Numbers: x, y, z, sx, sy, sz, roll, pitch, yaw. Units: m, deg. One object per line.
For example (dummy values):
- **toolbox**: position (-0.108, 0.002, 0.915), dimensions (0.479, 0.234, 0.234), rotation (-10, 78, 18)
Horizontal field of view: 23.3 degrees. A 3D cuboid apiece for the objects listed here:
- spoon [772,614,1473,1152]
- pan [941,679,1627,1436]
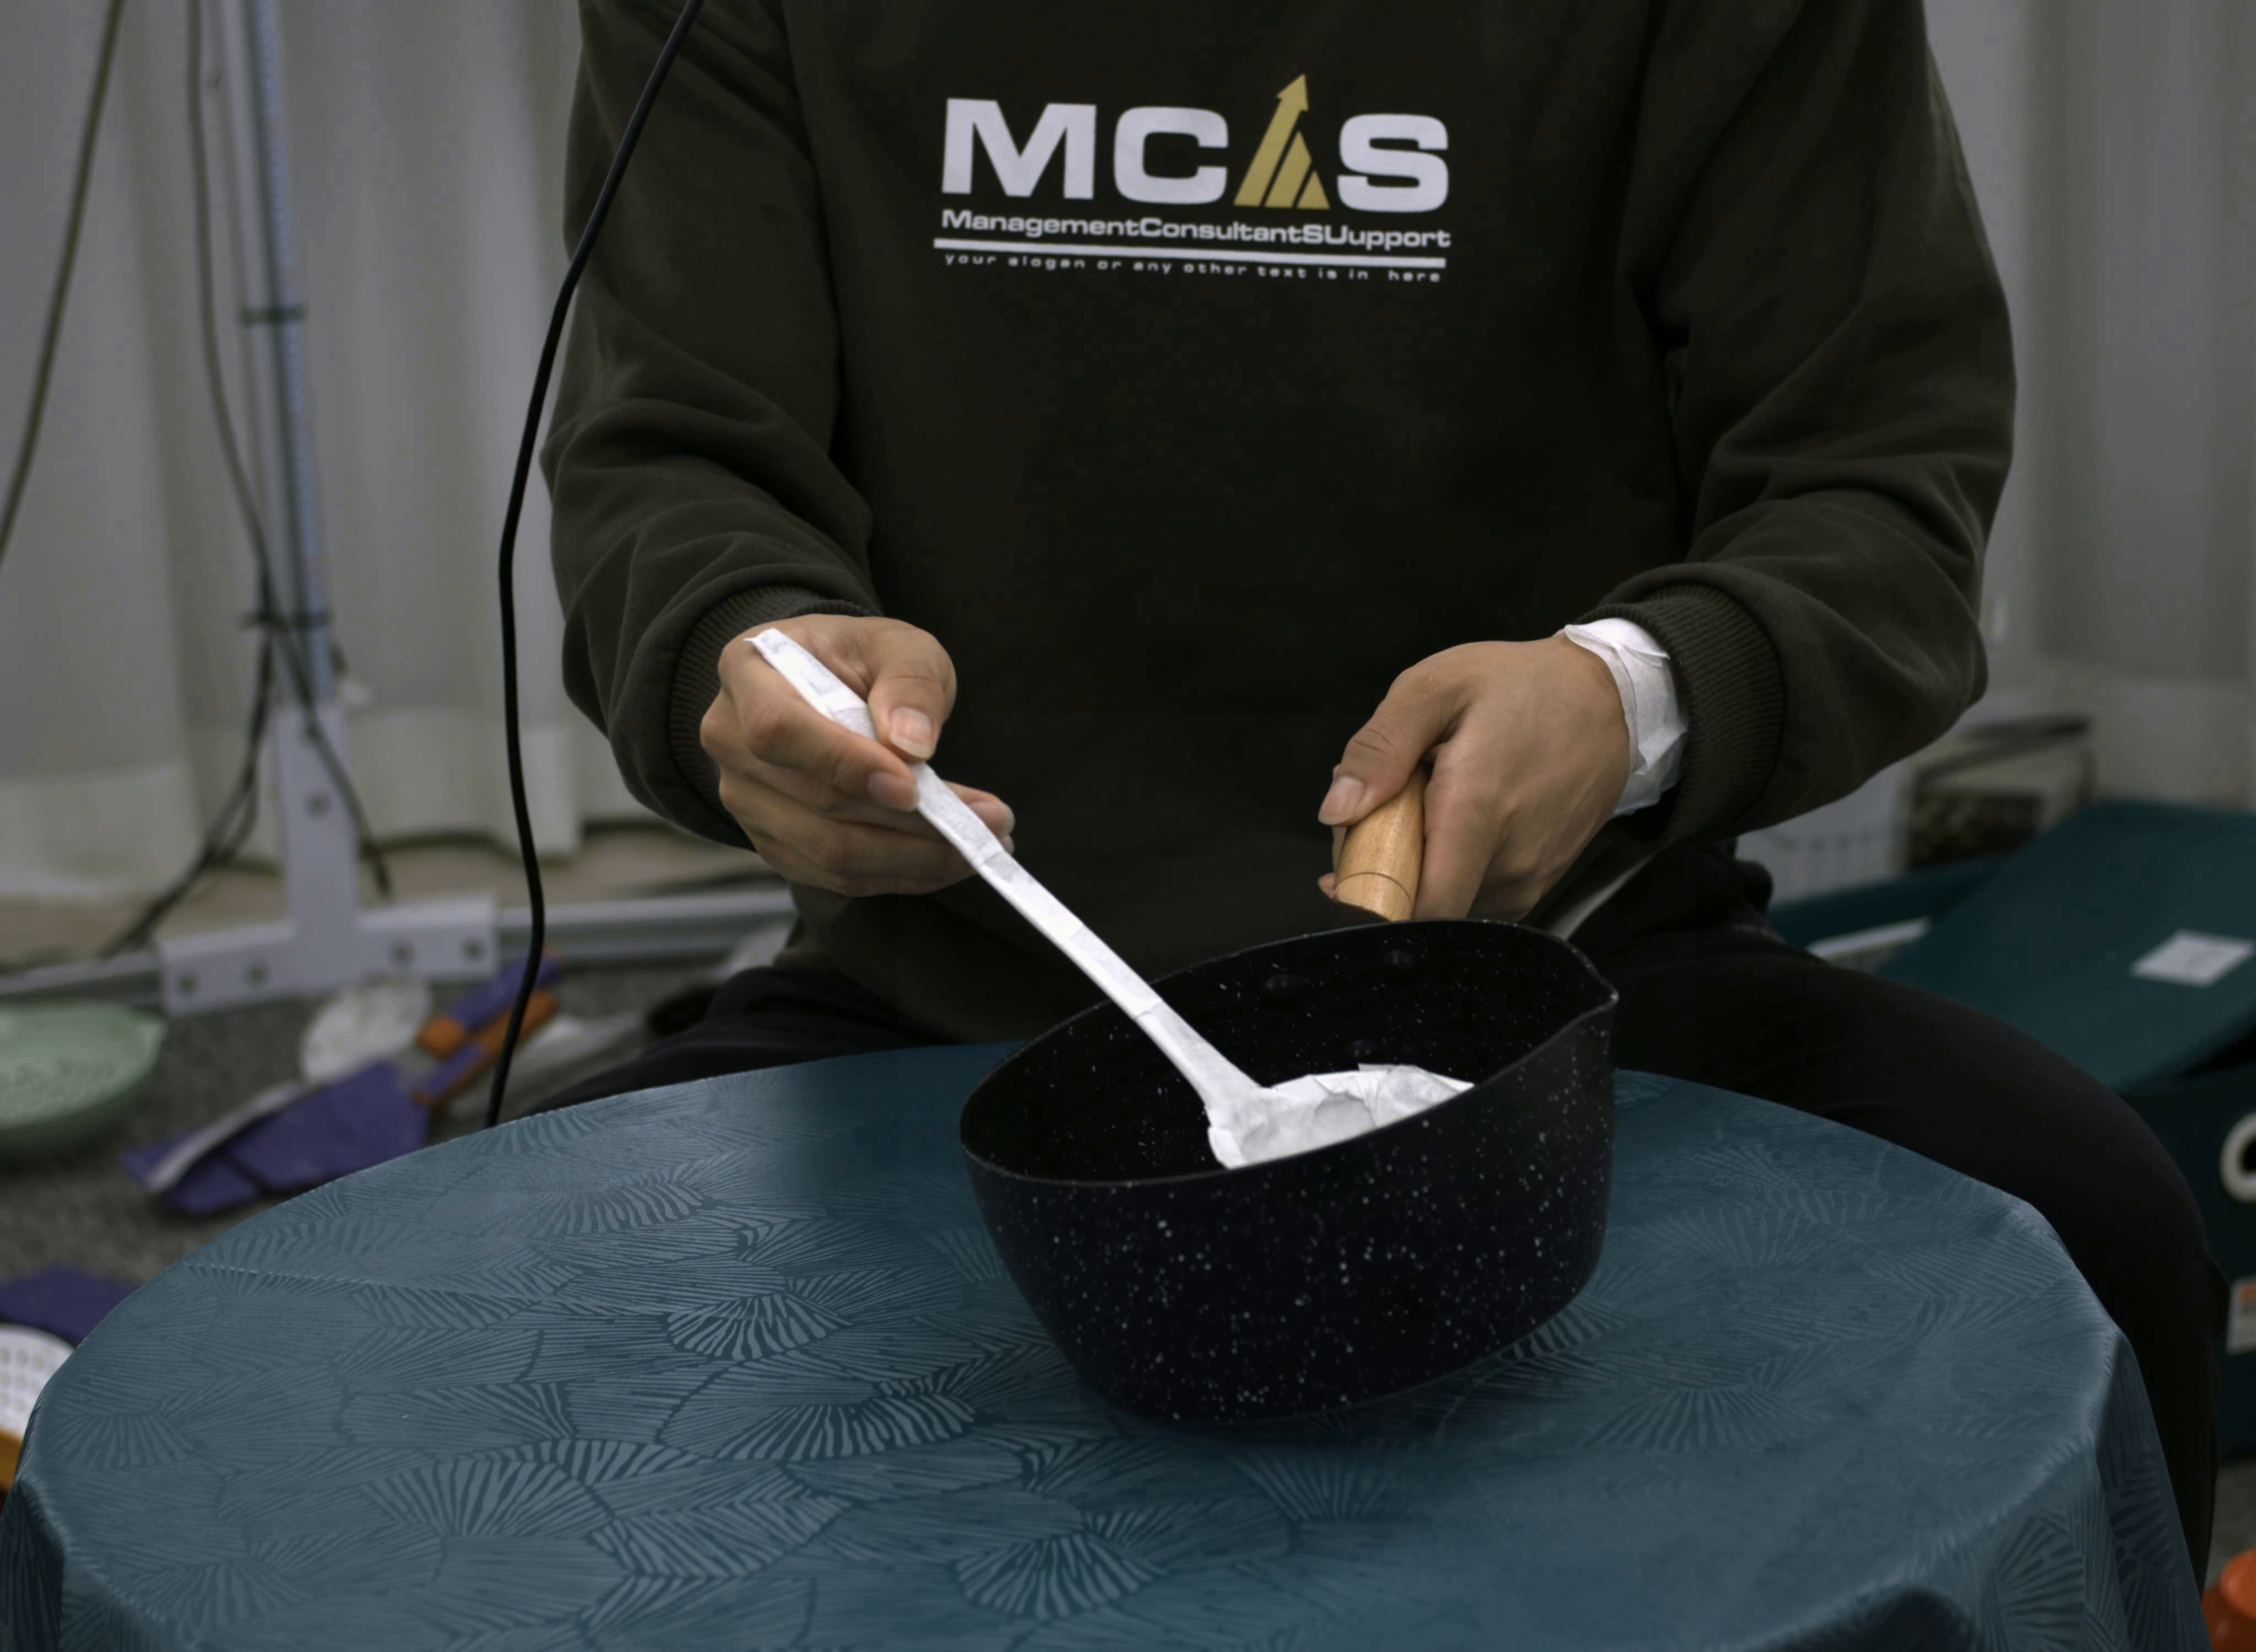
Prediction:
- **spoon**: position (0.004, 0.017, 1.555), dimensions (0.279, 0.059, 0.100), rotation (46, 35, 18)
- **pan**: position (0.064, 0.063, 1.619), dimensions (0.207, 0.107, 0.345), rotation (-12, 18, 16)
